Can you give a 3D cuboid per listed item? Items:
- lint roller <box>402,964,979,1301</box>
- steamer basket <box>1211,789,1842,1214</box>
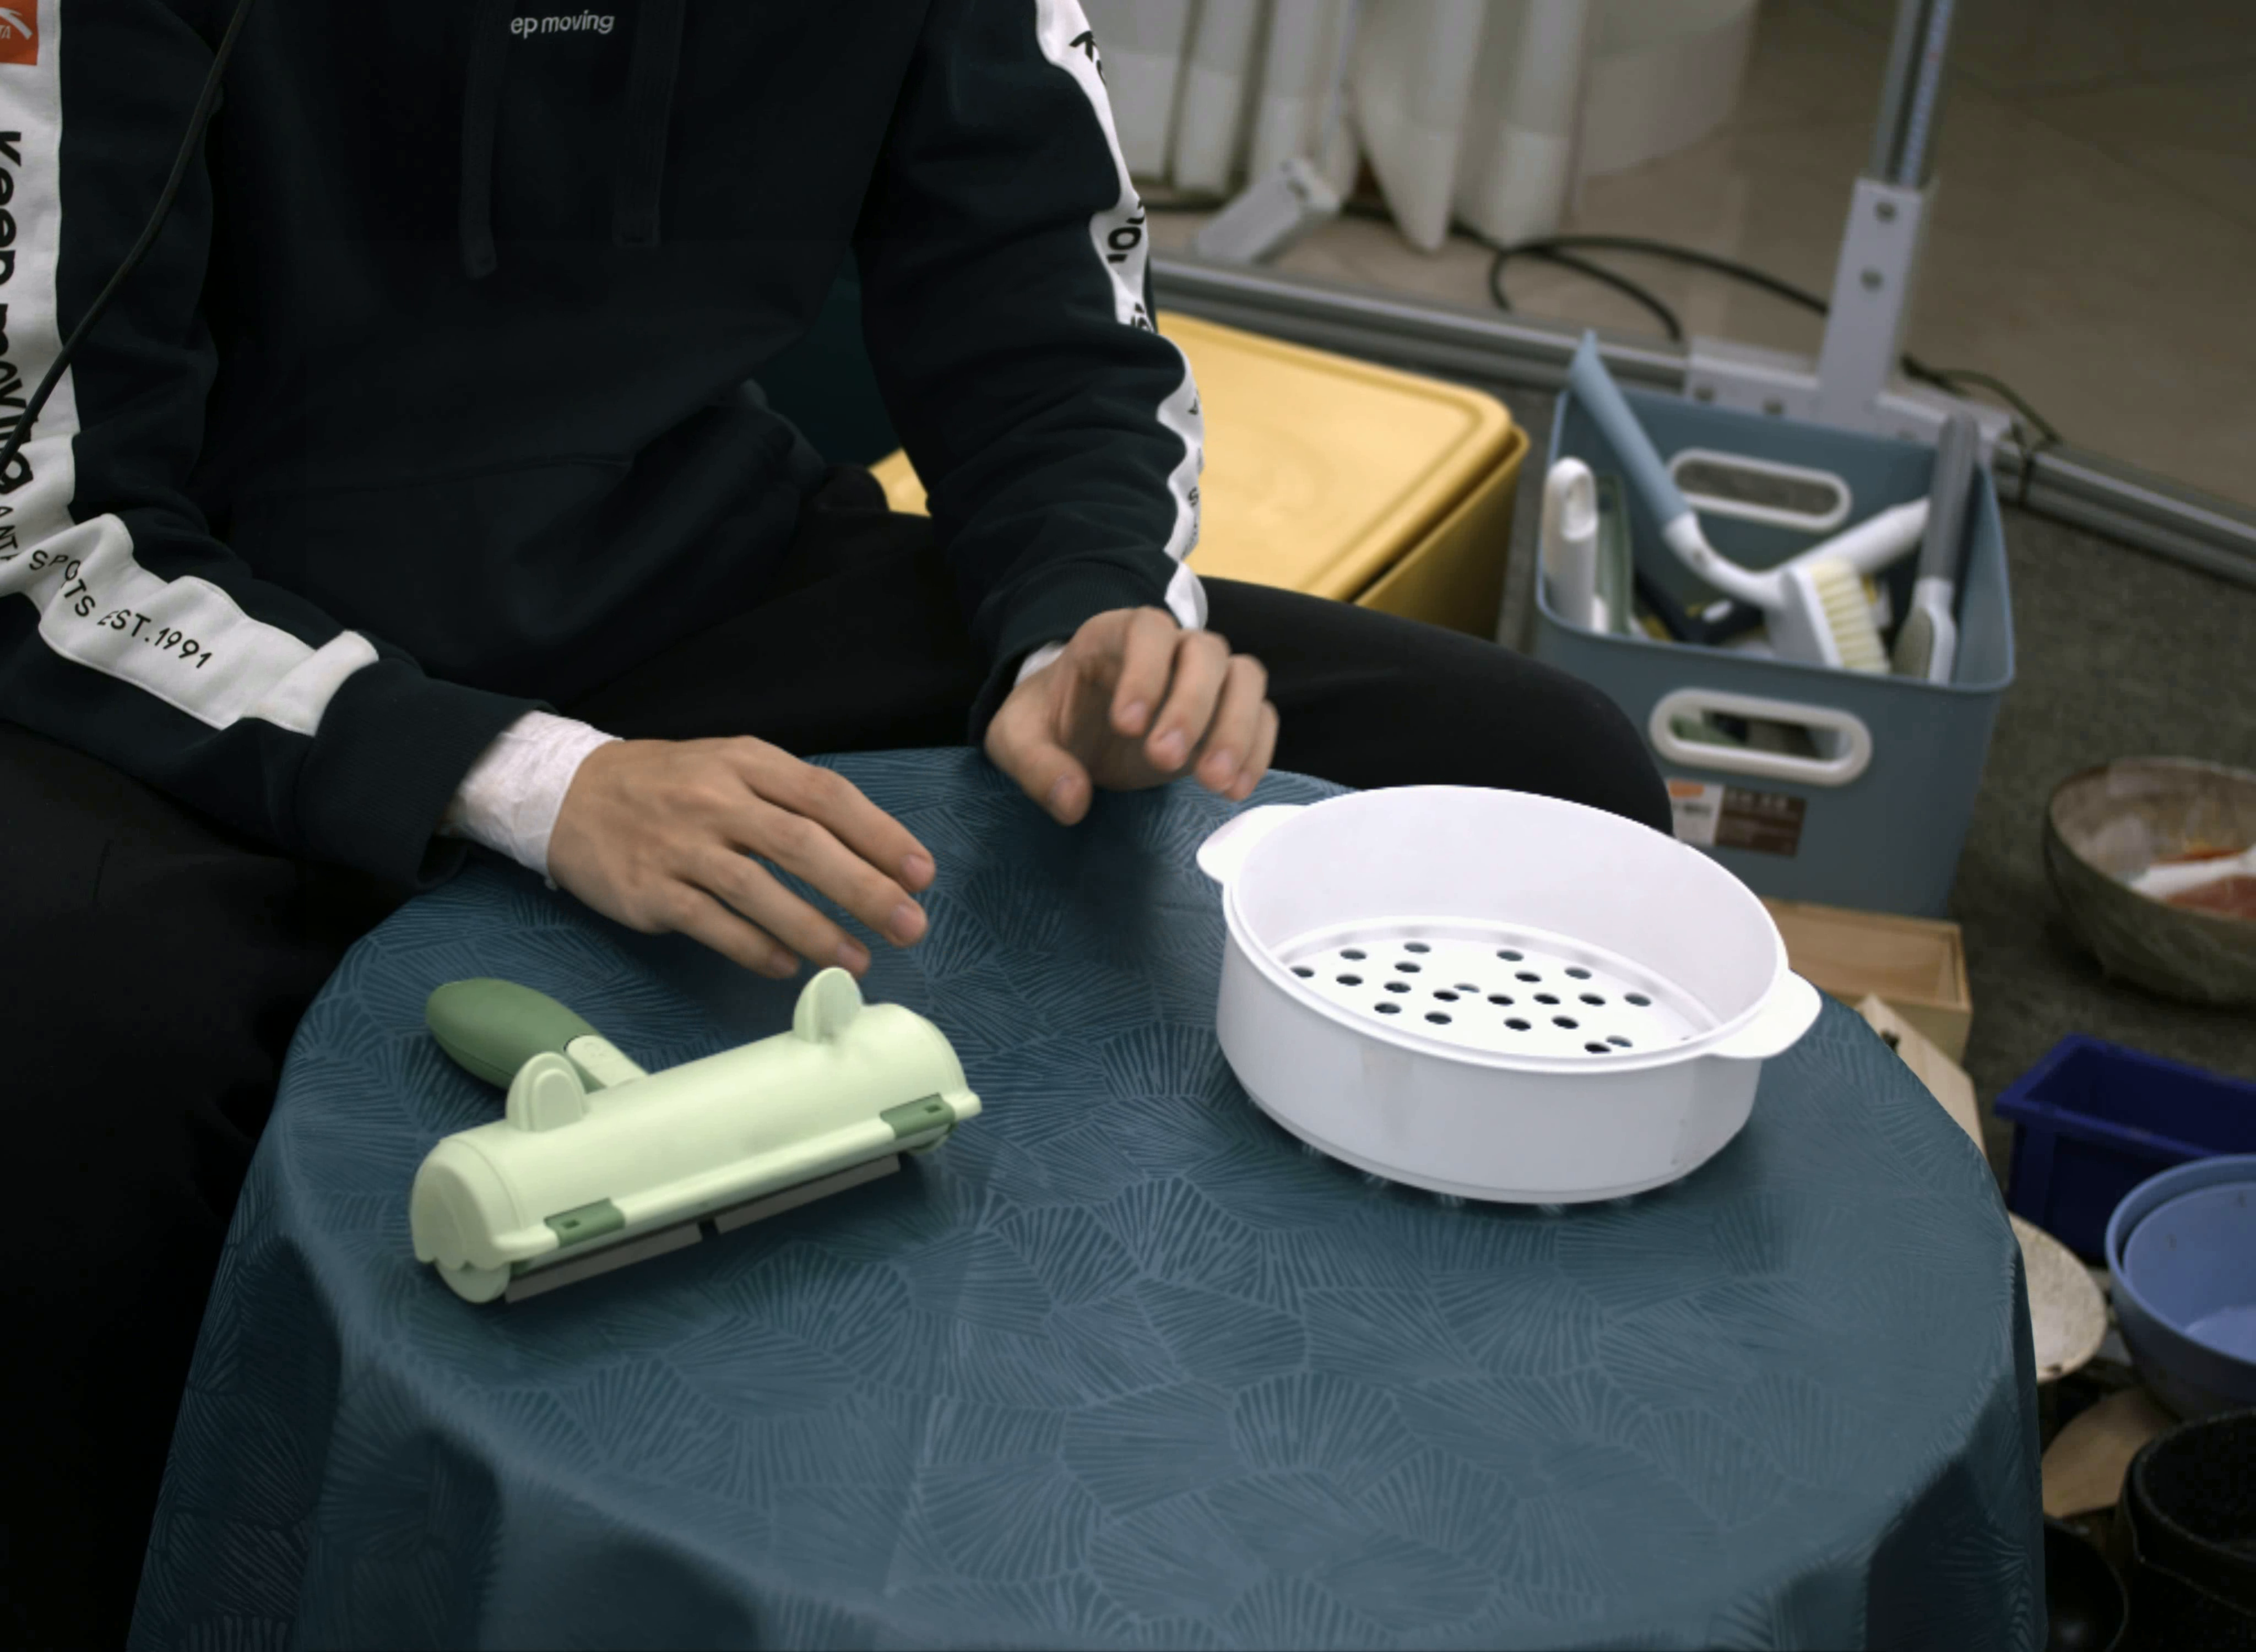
[{"bbox_3d":[-0.177,0.073,1.773,0.197,0.082,0.185,-16,39,-37],"label":"lint roller"},{"bbox_3d":[0.135,0.062,1.875,0.231,0.069,0.201,20,30,22],"label":"steamer basket"}]
